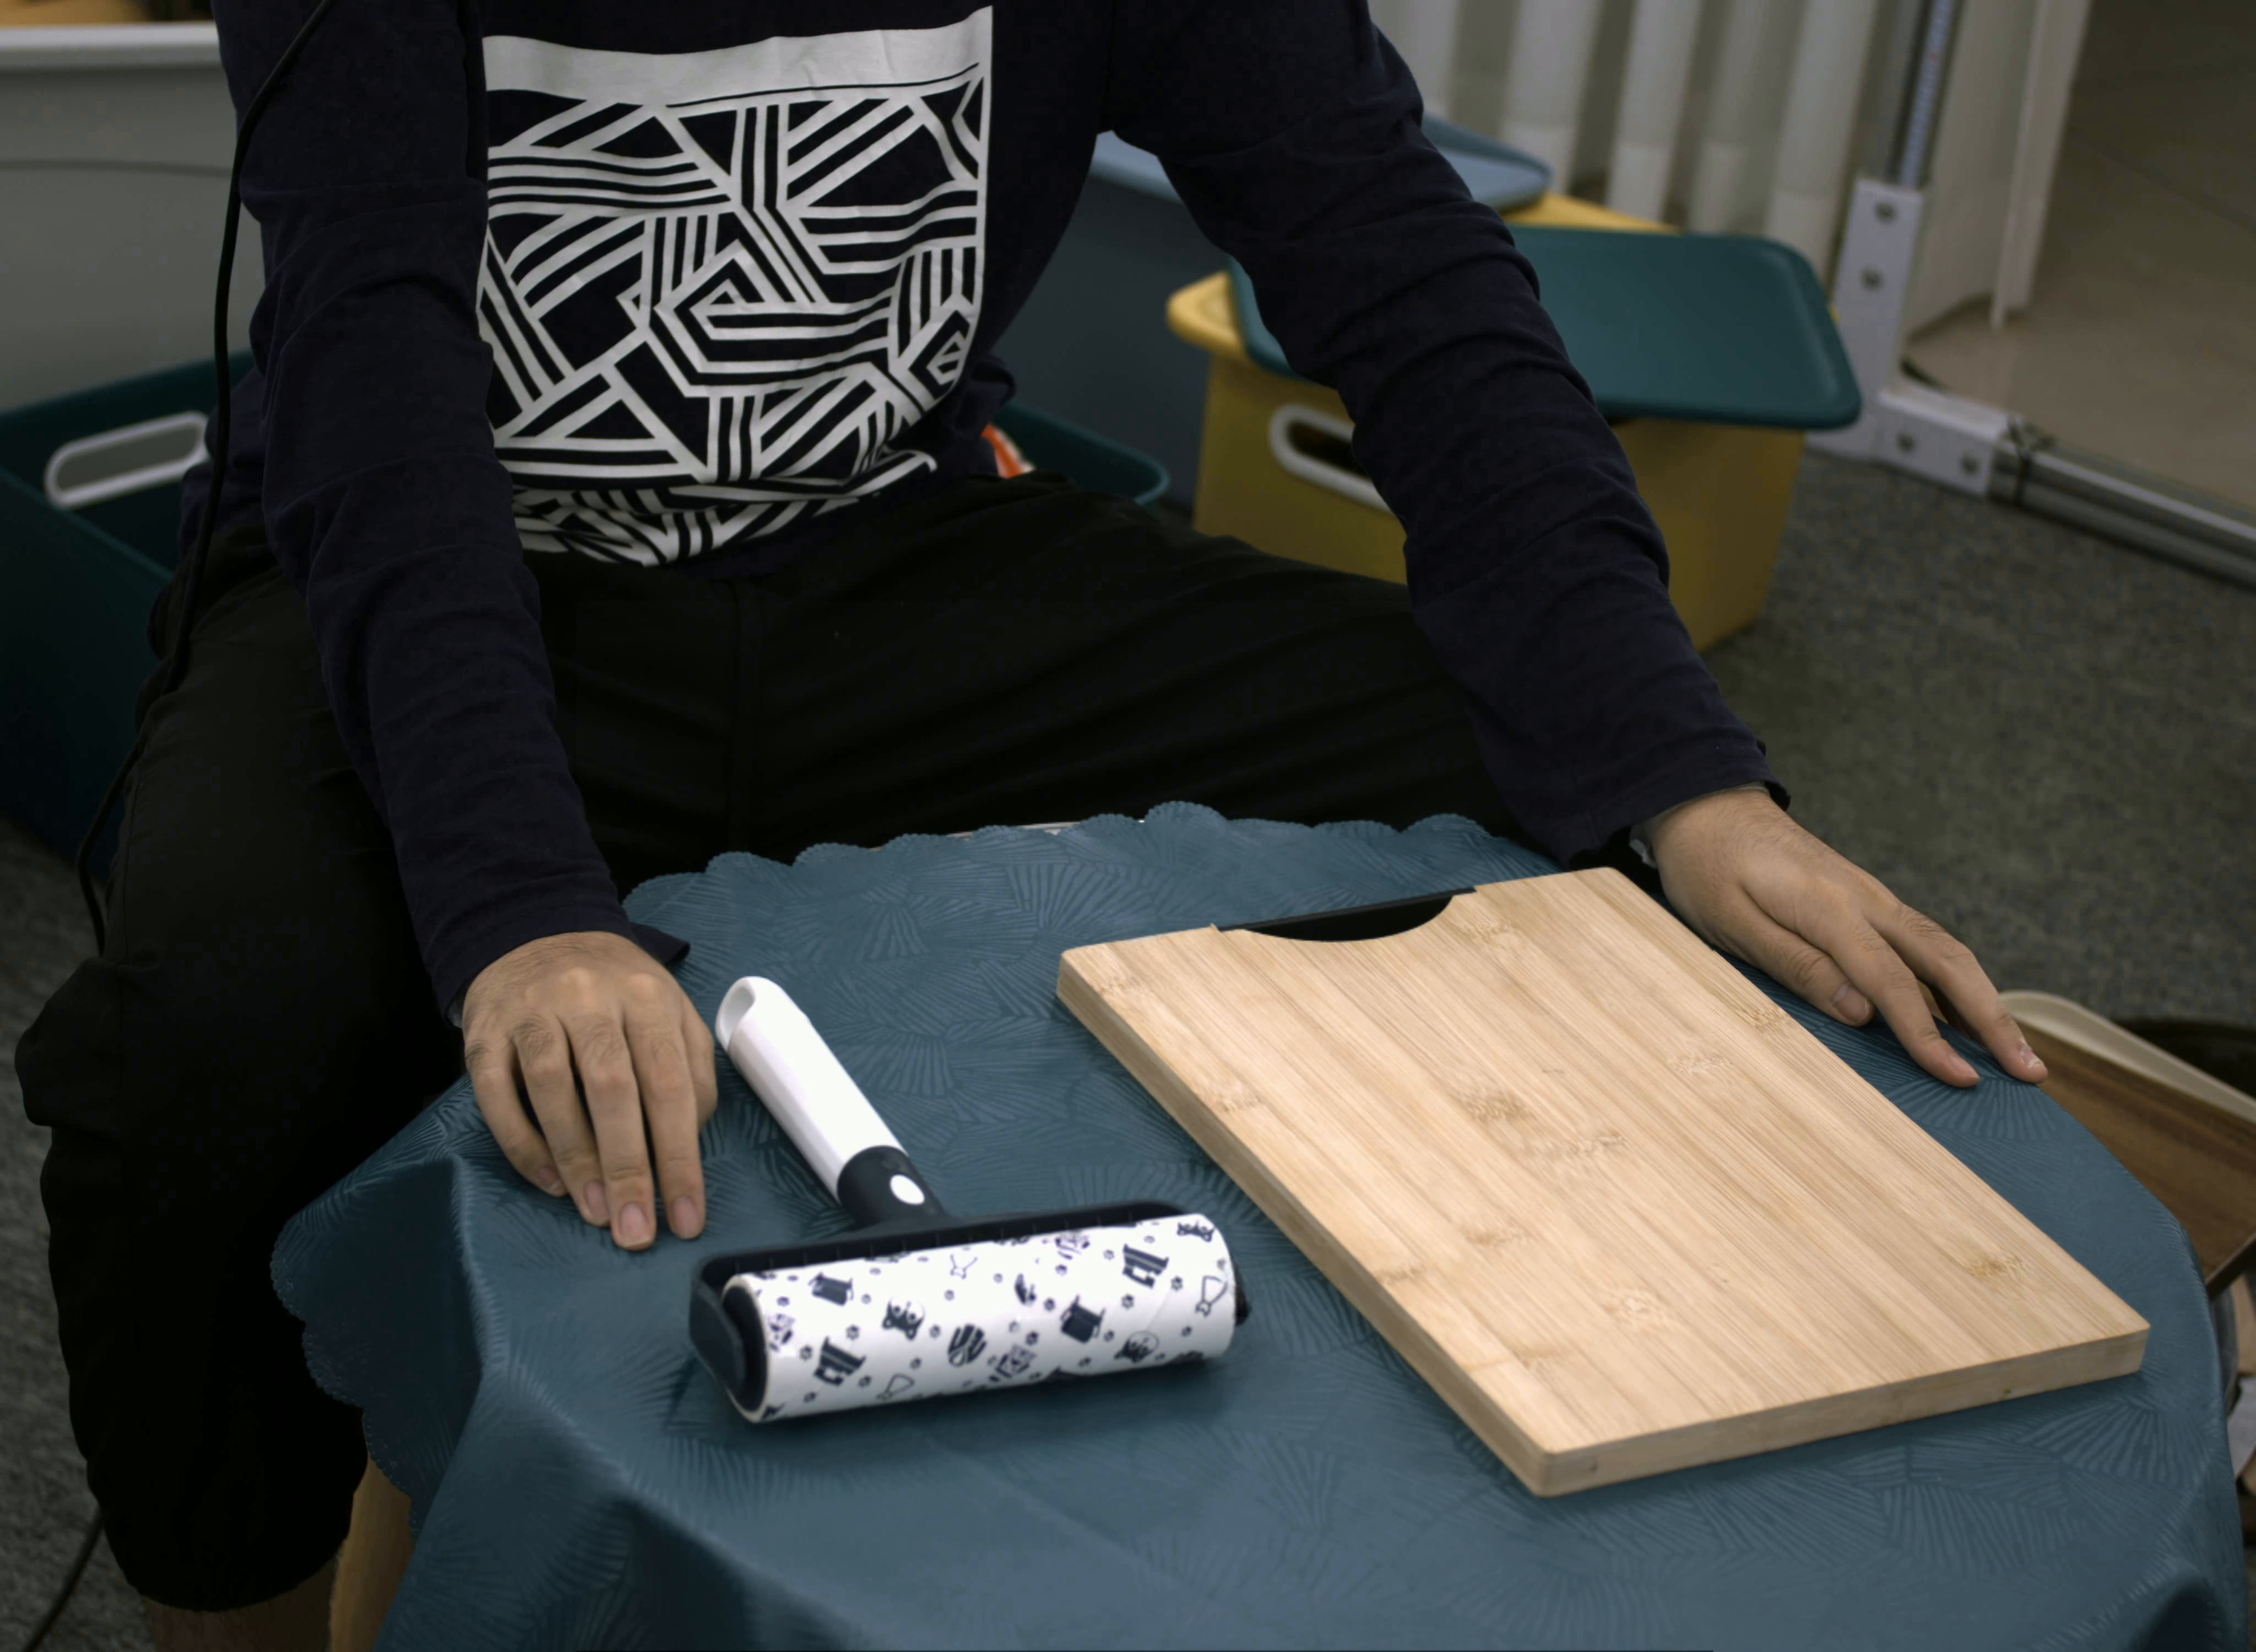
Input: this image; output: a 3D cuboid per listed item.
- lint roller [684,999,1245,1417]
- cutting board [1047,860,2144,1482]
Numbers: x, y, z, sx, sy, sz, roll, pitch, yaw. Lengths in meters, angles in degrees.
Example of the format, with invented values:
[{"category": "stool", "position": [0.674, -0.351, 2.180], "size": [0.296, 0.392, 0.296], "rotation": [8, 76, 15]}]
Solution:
[{"category": "lint roller", "position": [-0.089, 0.112, 1.764], "size": [0.175, 0.050, 0.249], "rotation": [-7, 27, -23]}, {"category": "cutting board", "position": [0.153, 0.112, 1.847], "size": [0.249, 0.023, 0.352], "rotation": [-8, 30, -27]}]
